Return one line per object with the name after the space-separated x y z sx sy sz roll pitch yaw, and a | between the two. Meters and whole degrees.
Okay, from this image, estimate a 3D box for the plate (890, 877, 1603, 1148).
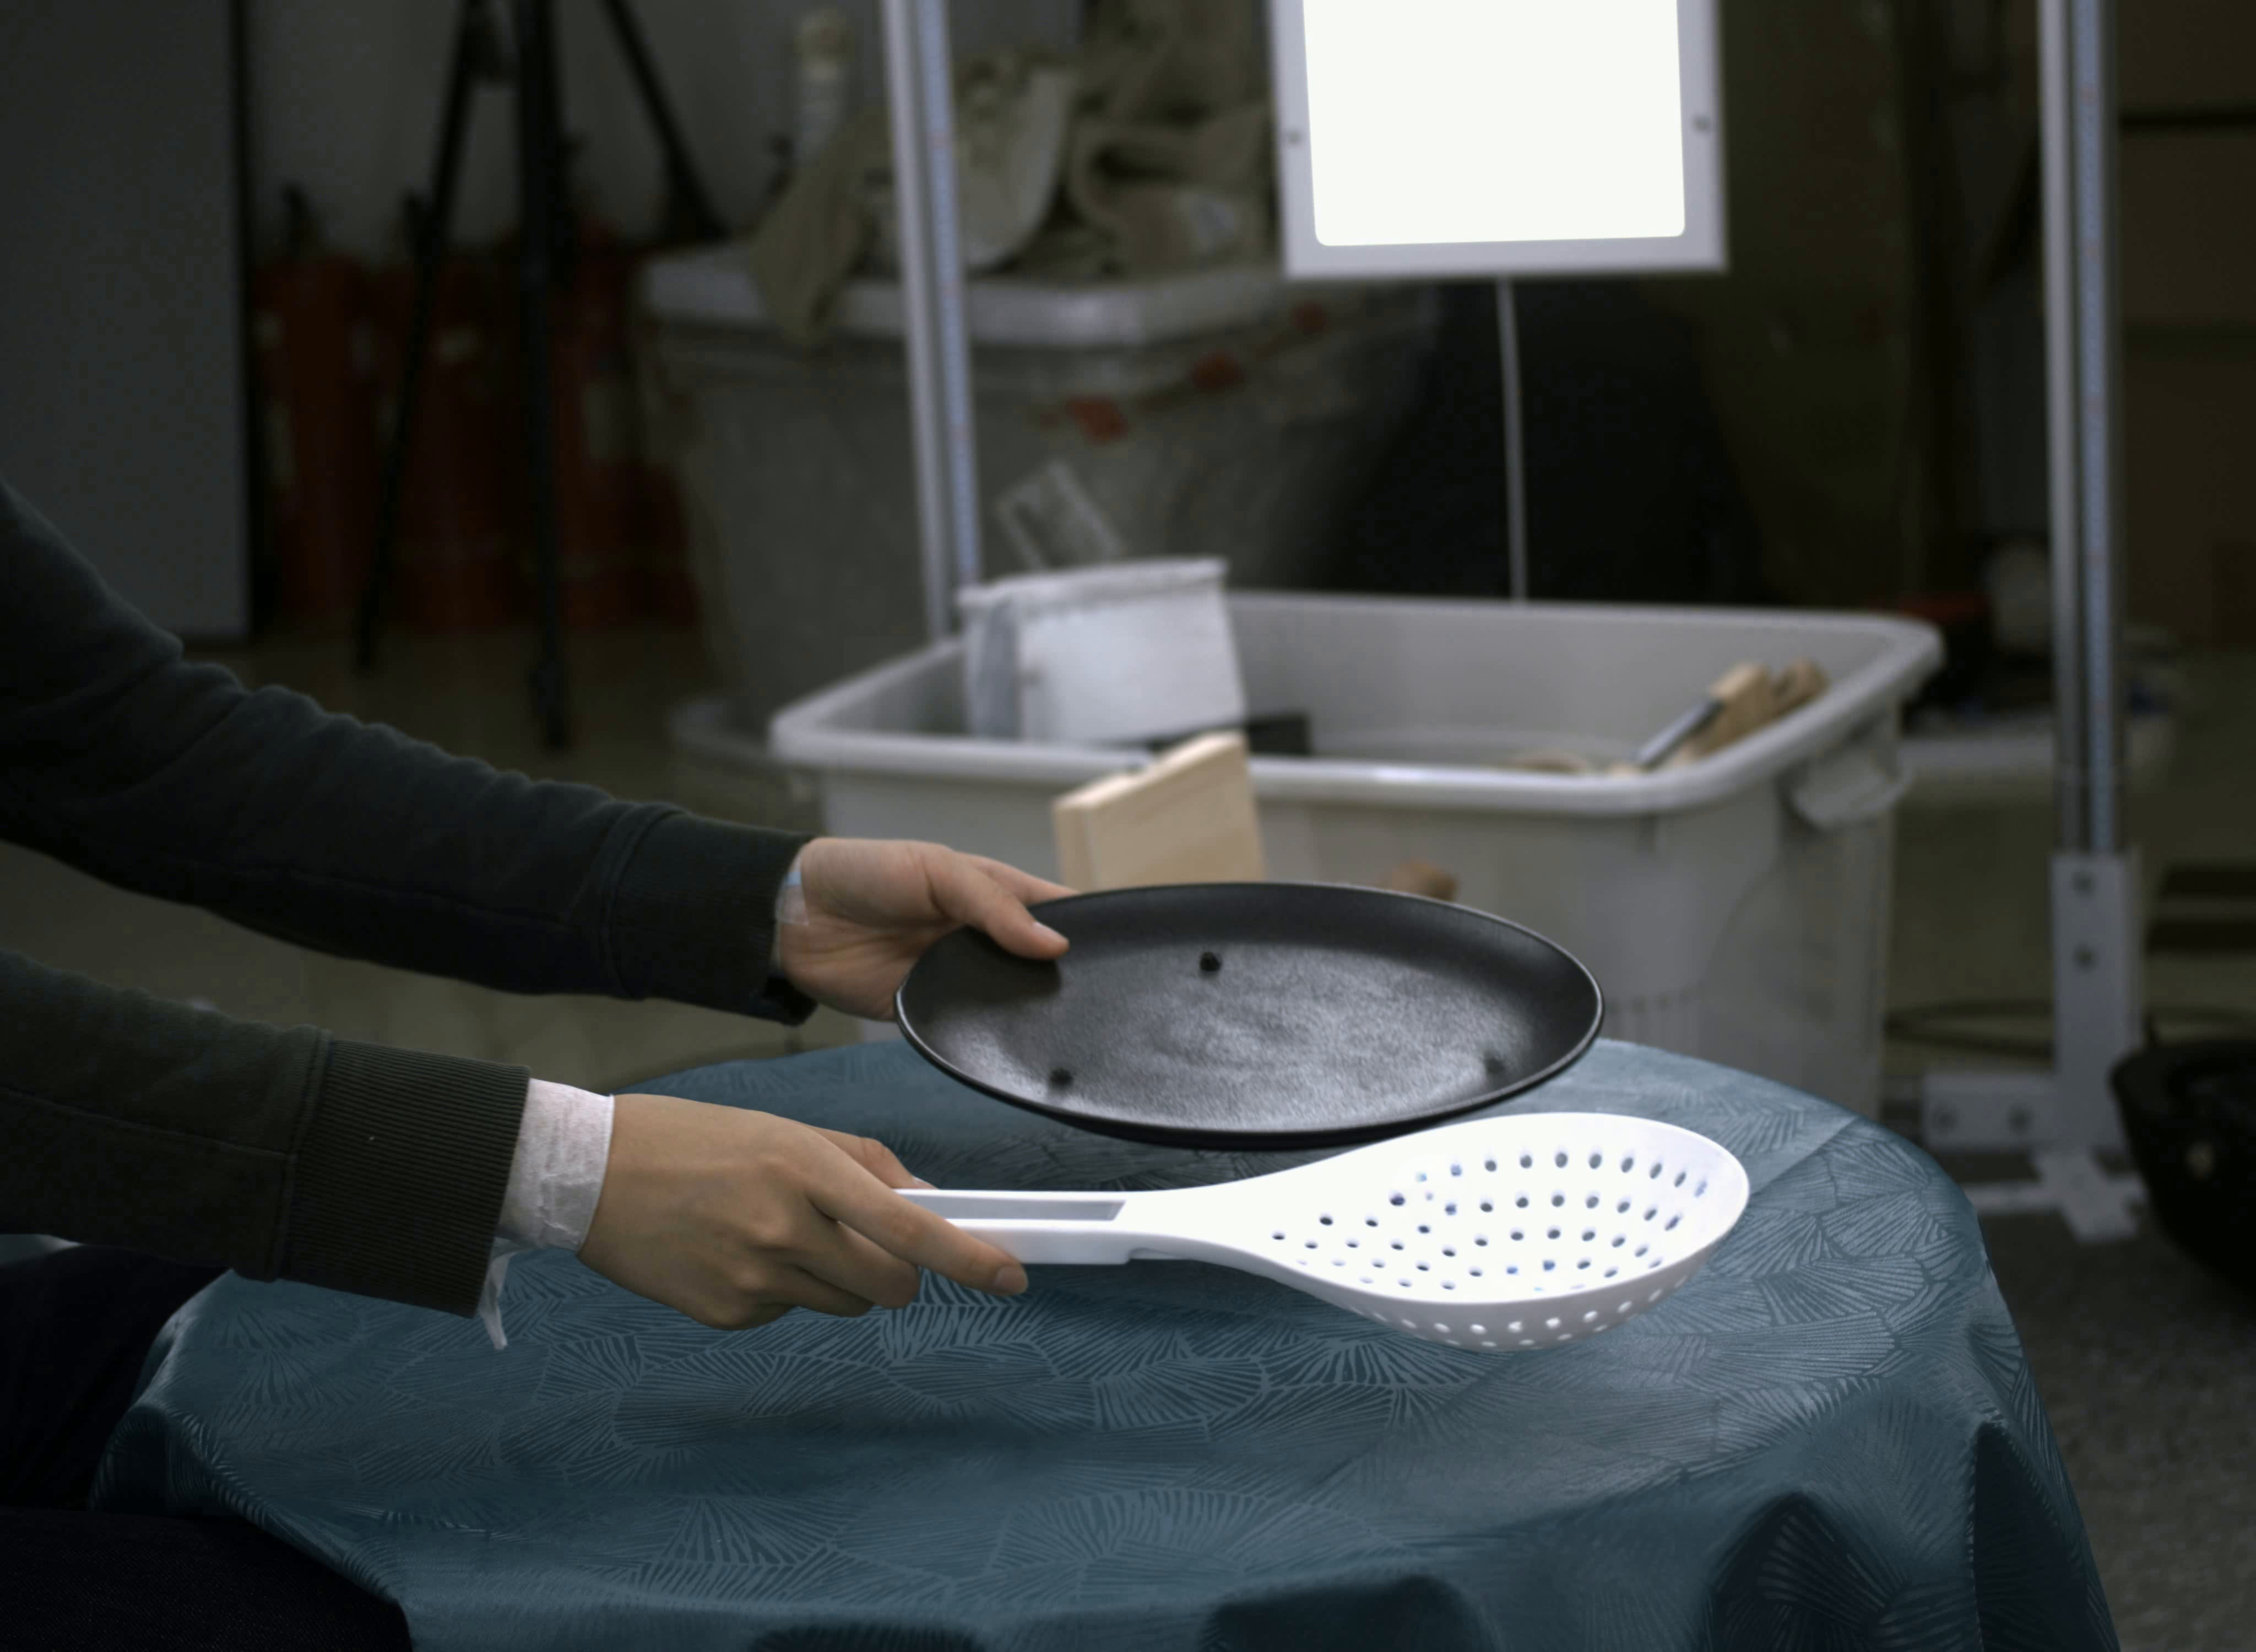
0.040 0.066 1.873 0.243 0.023 0.244 -1 18 -1 | plate

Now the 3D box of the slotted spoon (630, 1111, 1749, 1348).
0.014 0.119 1.658 0.354 0.046 0.134 3 21 19 | slotted spoon
